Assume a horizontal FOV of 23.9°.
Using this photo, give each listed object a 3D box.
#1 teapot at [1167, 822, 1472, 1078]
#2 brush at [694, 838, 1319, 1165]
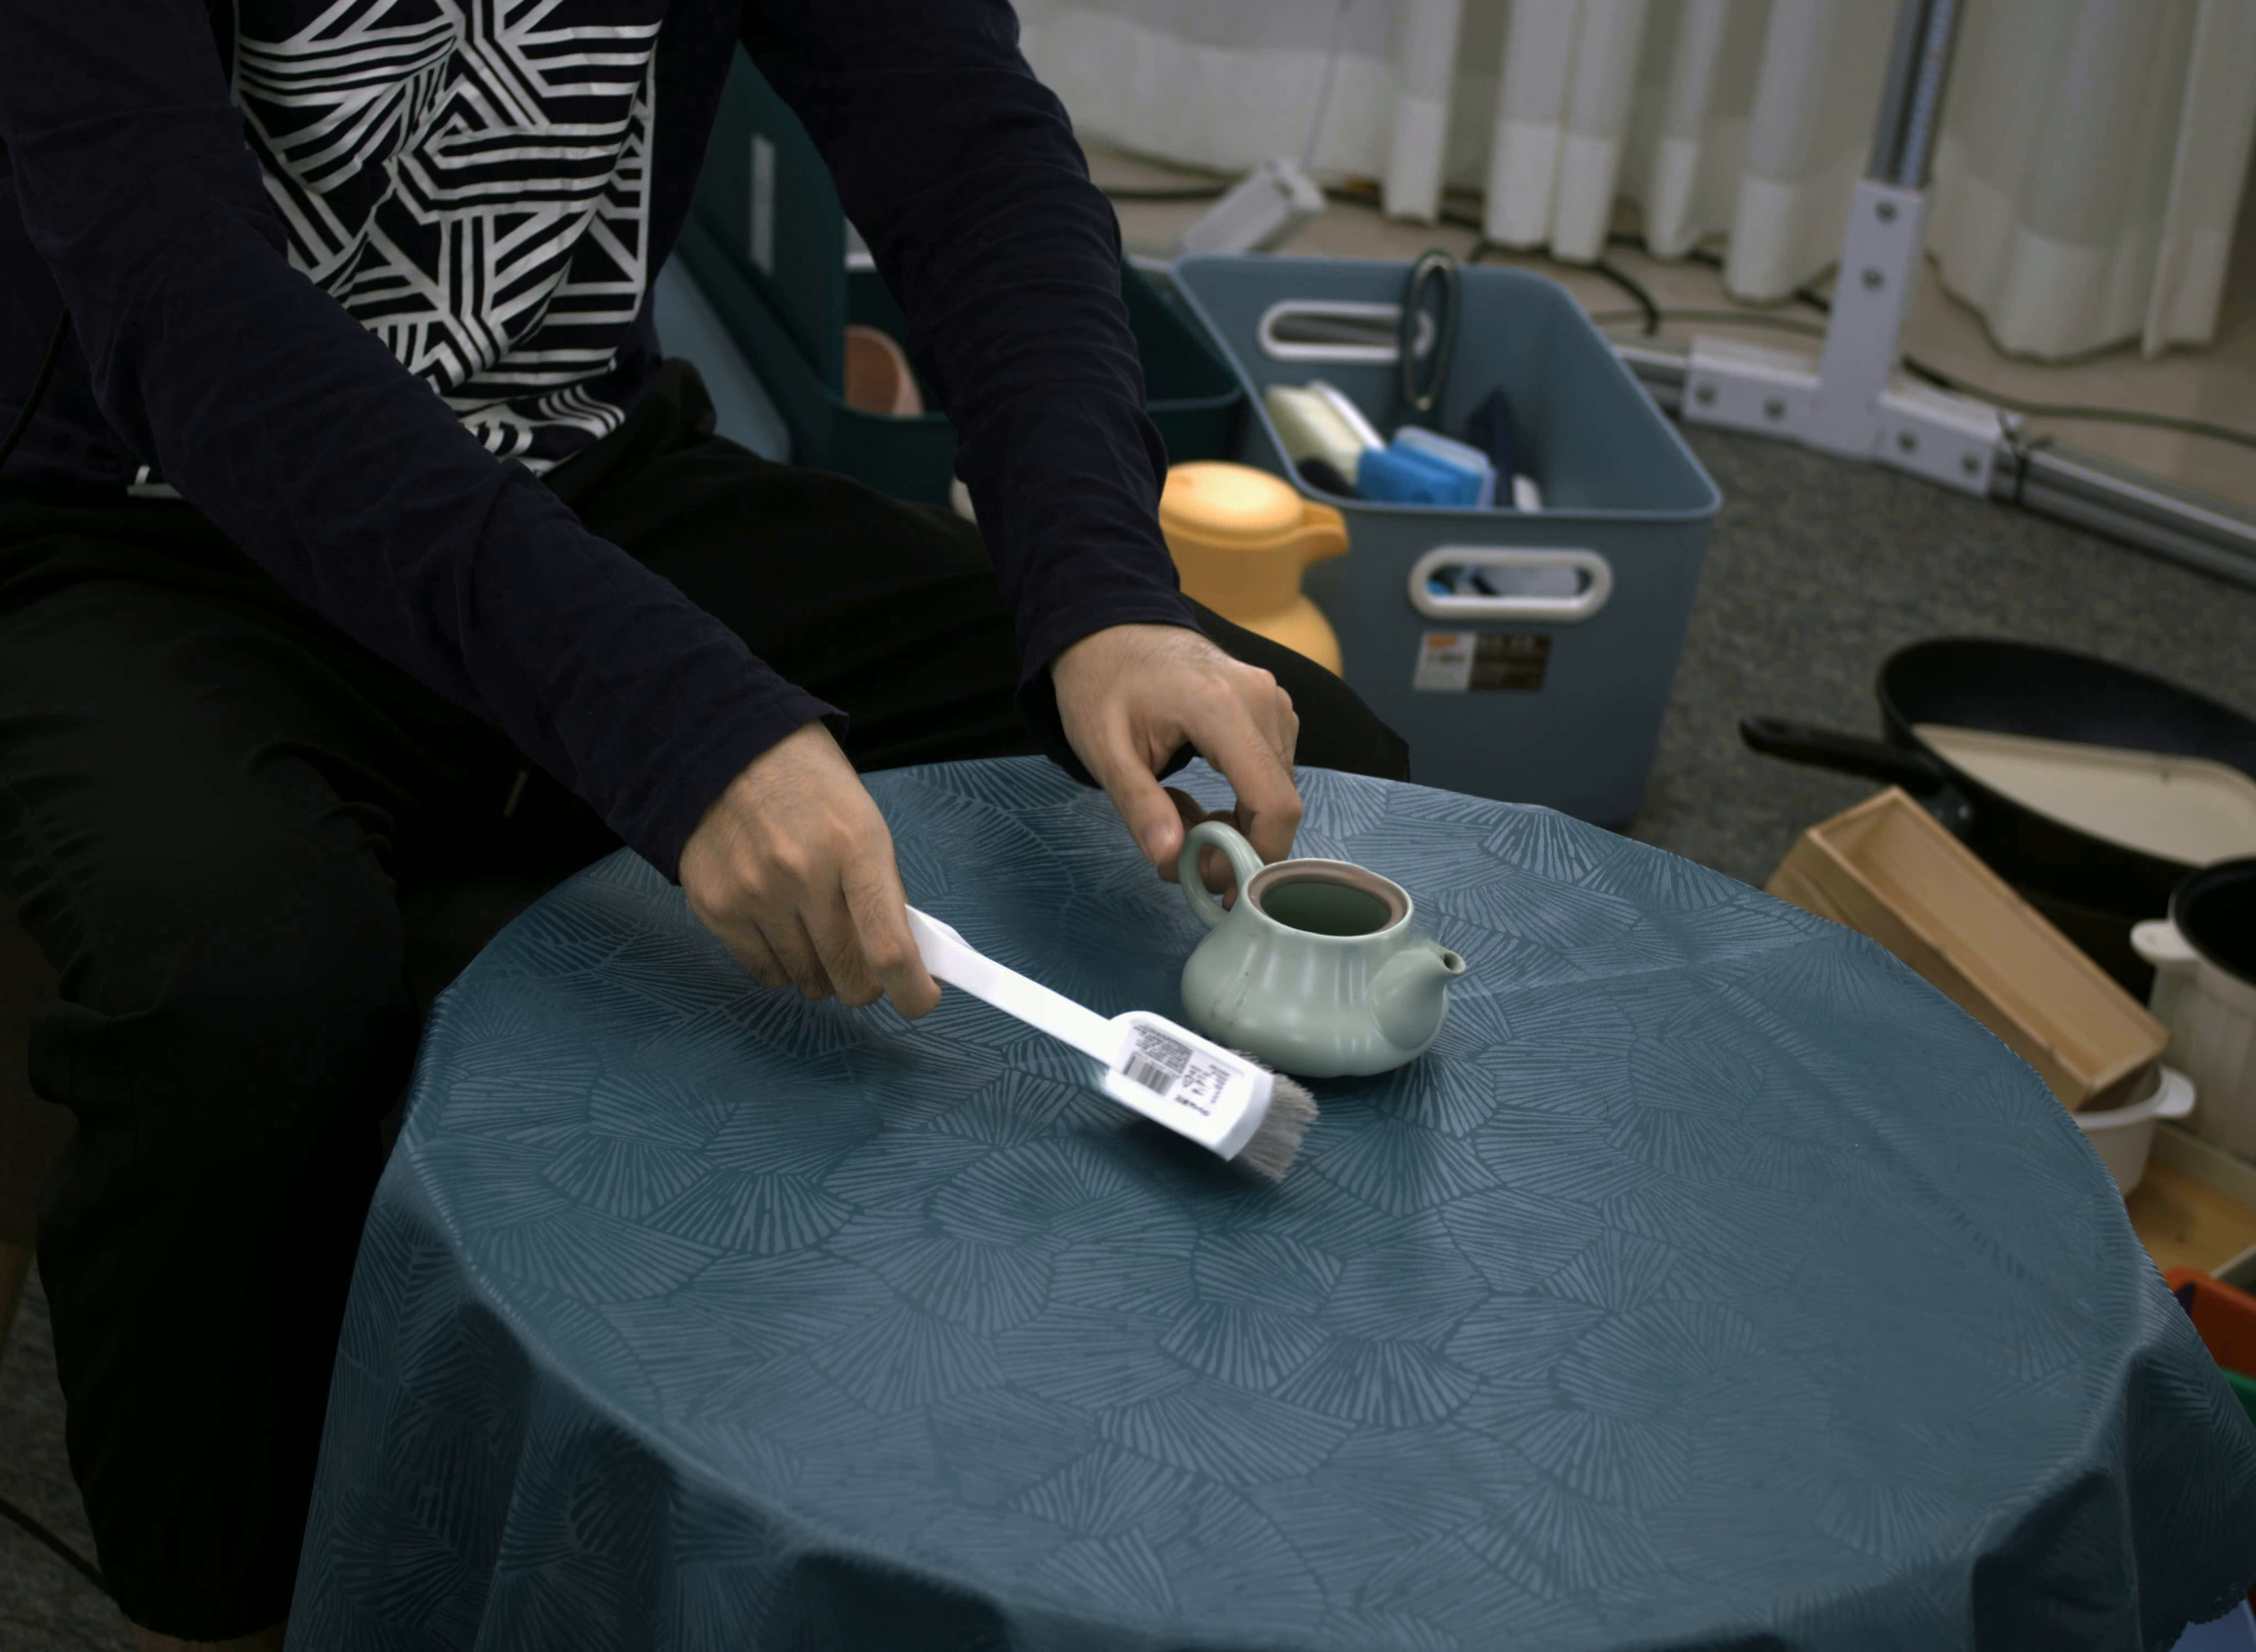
[{"bbox_3d":[0.065,0.047,1.905,0.138,0.061,0.096,28,37,35],"label":"teapot"},{"bbox_3d":[-0.044,0.058,1.857,0.245,0.034,0.050,23,3,24],"label":"brush"}]
